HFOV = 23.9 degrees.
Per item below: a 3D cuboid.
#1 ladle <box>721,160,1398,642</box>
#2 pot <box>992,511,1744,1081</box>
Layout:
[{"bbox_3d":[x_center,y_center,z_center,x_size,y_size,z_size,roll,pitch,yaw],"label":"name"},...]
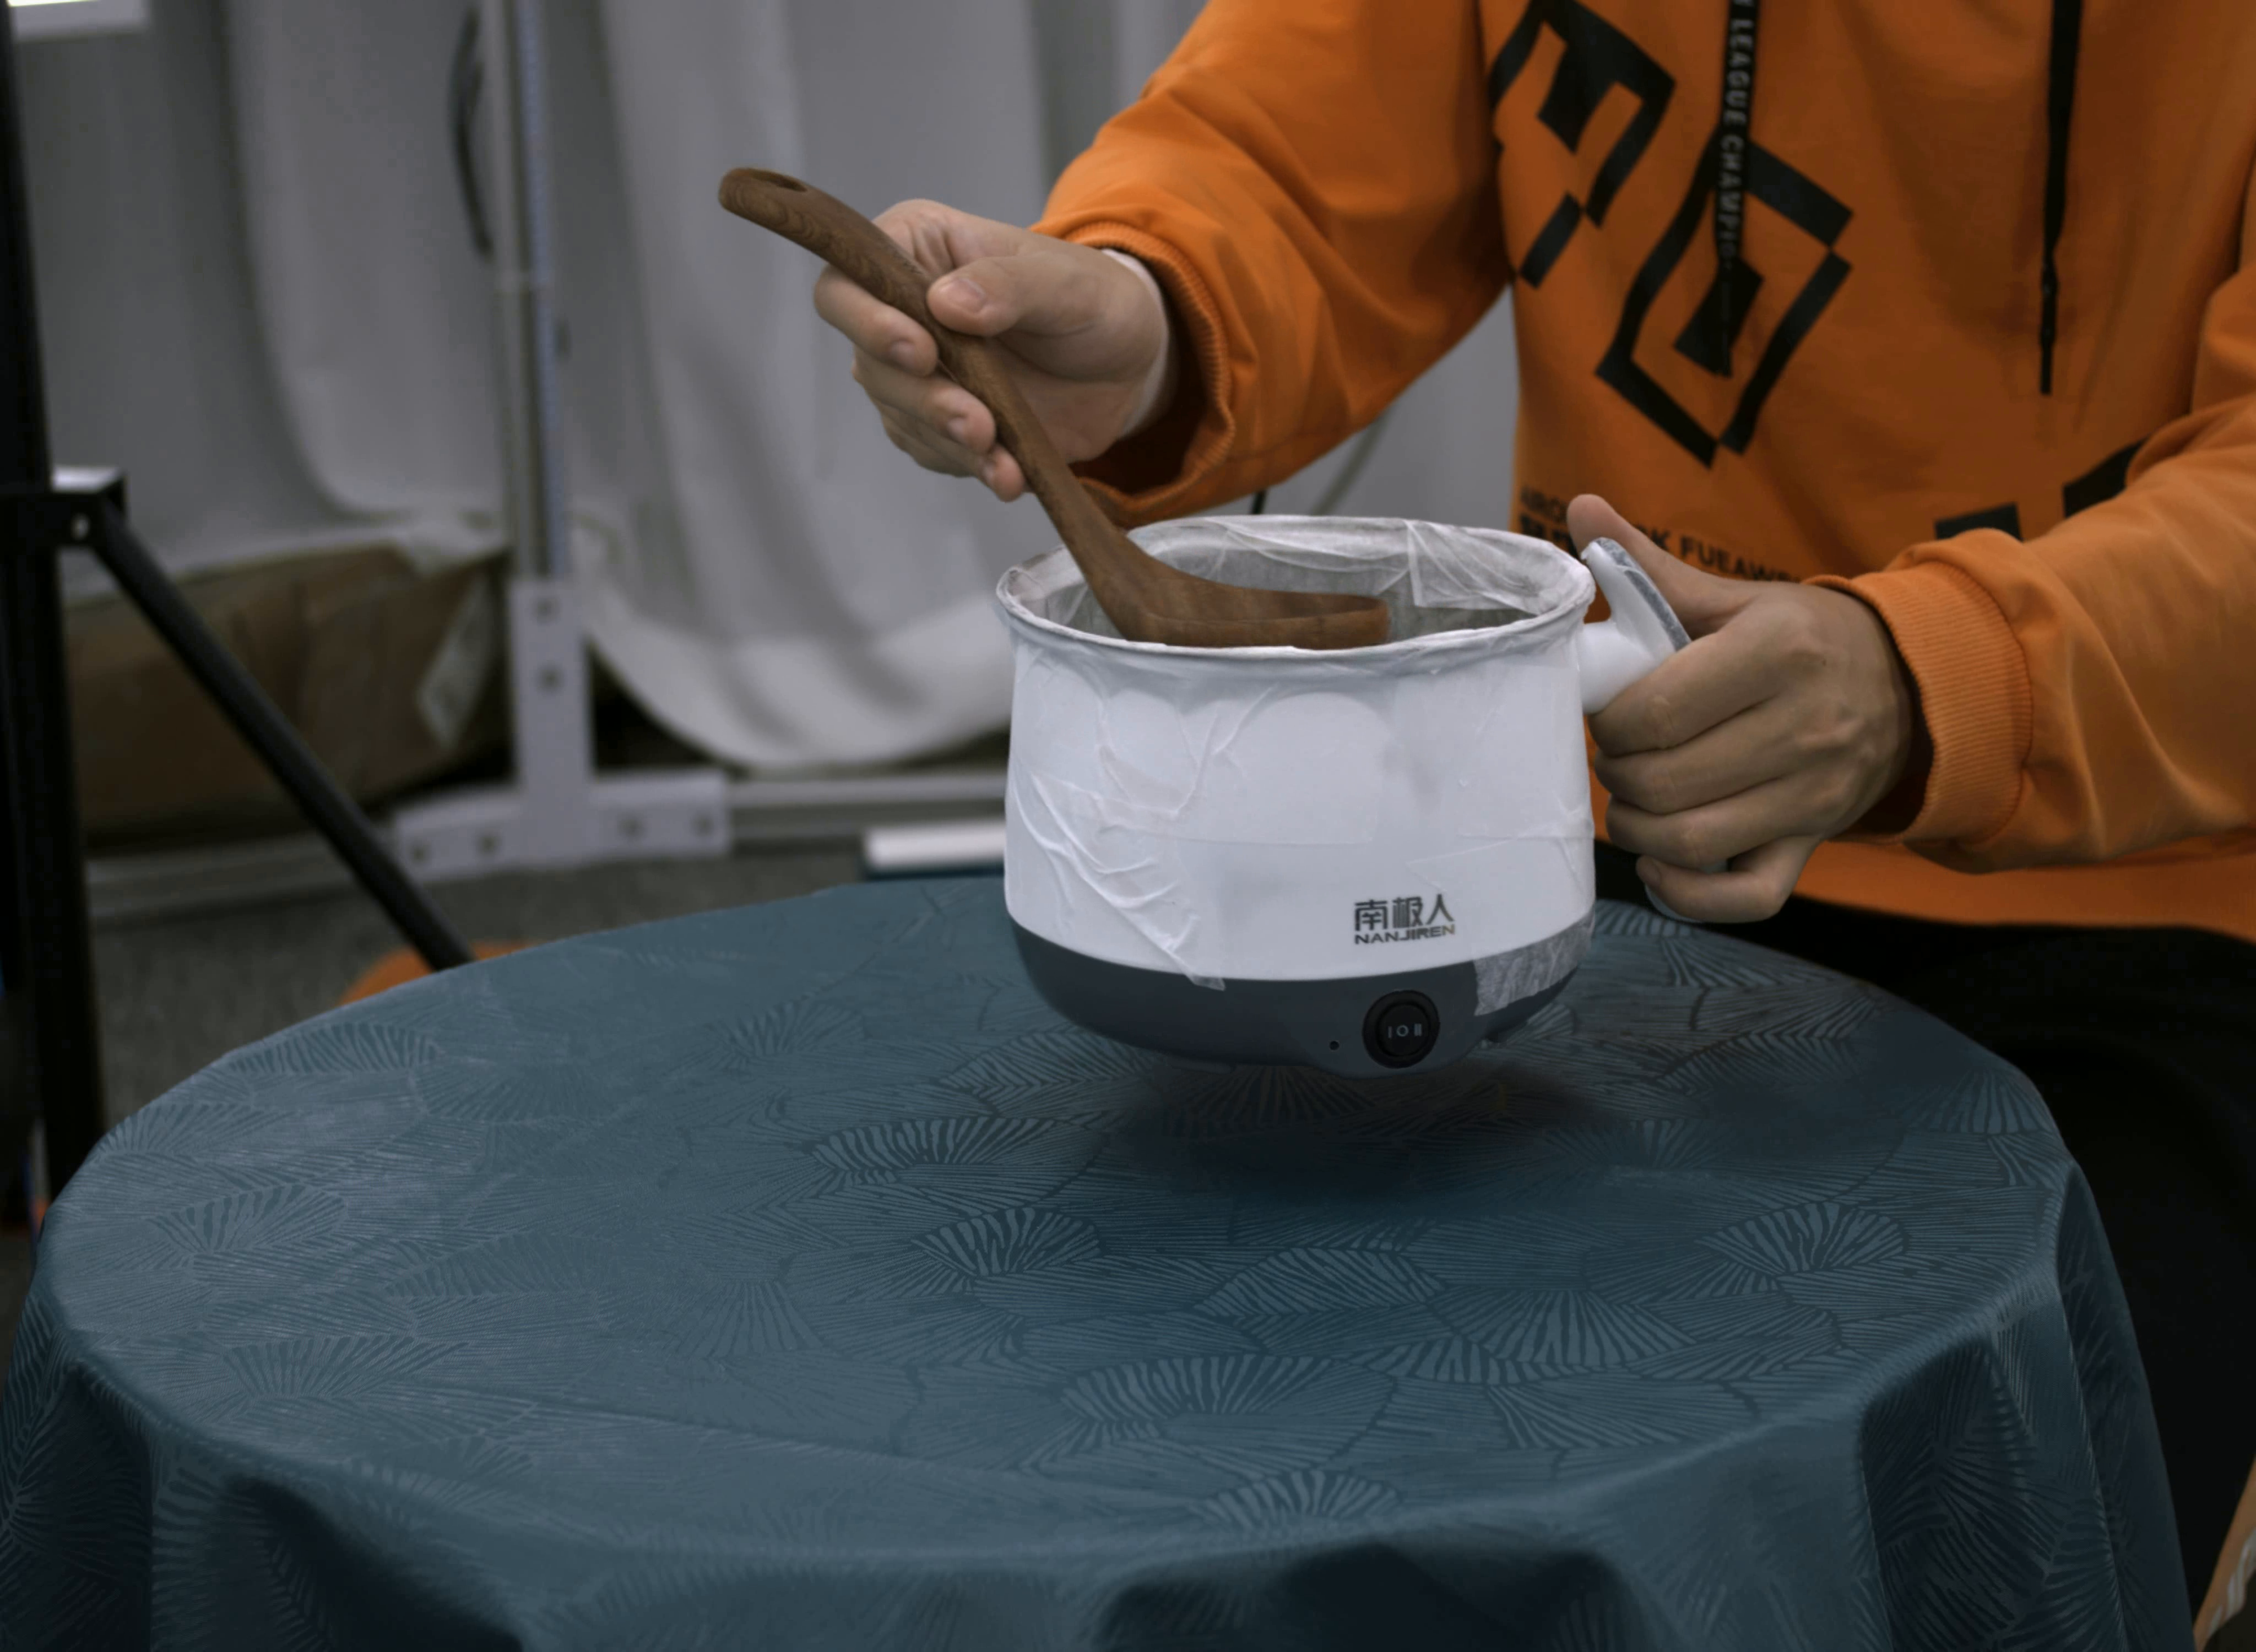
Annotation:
[{"bbox_3d":[-0.022,-0.126,1.577,0.264,0.065,0.075,48,24,19],"label":"ladle"},{"bbox_3d":[0.075,-0.014,1.596,0.230,0.136,0.182,-6,17,-17],"label":"pot"}]
